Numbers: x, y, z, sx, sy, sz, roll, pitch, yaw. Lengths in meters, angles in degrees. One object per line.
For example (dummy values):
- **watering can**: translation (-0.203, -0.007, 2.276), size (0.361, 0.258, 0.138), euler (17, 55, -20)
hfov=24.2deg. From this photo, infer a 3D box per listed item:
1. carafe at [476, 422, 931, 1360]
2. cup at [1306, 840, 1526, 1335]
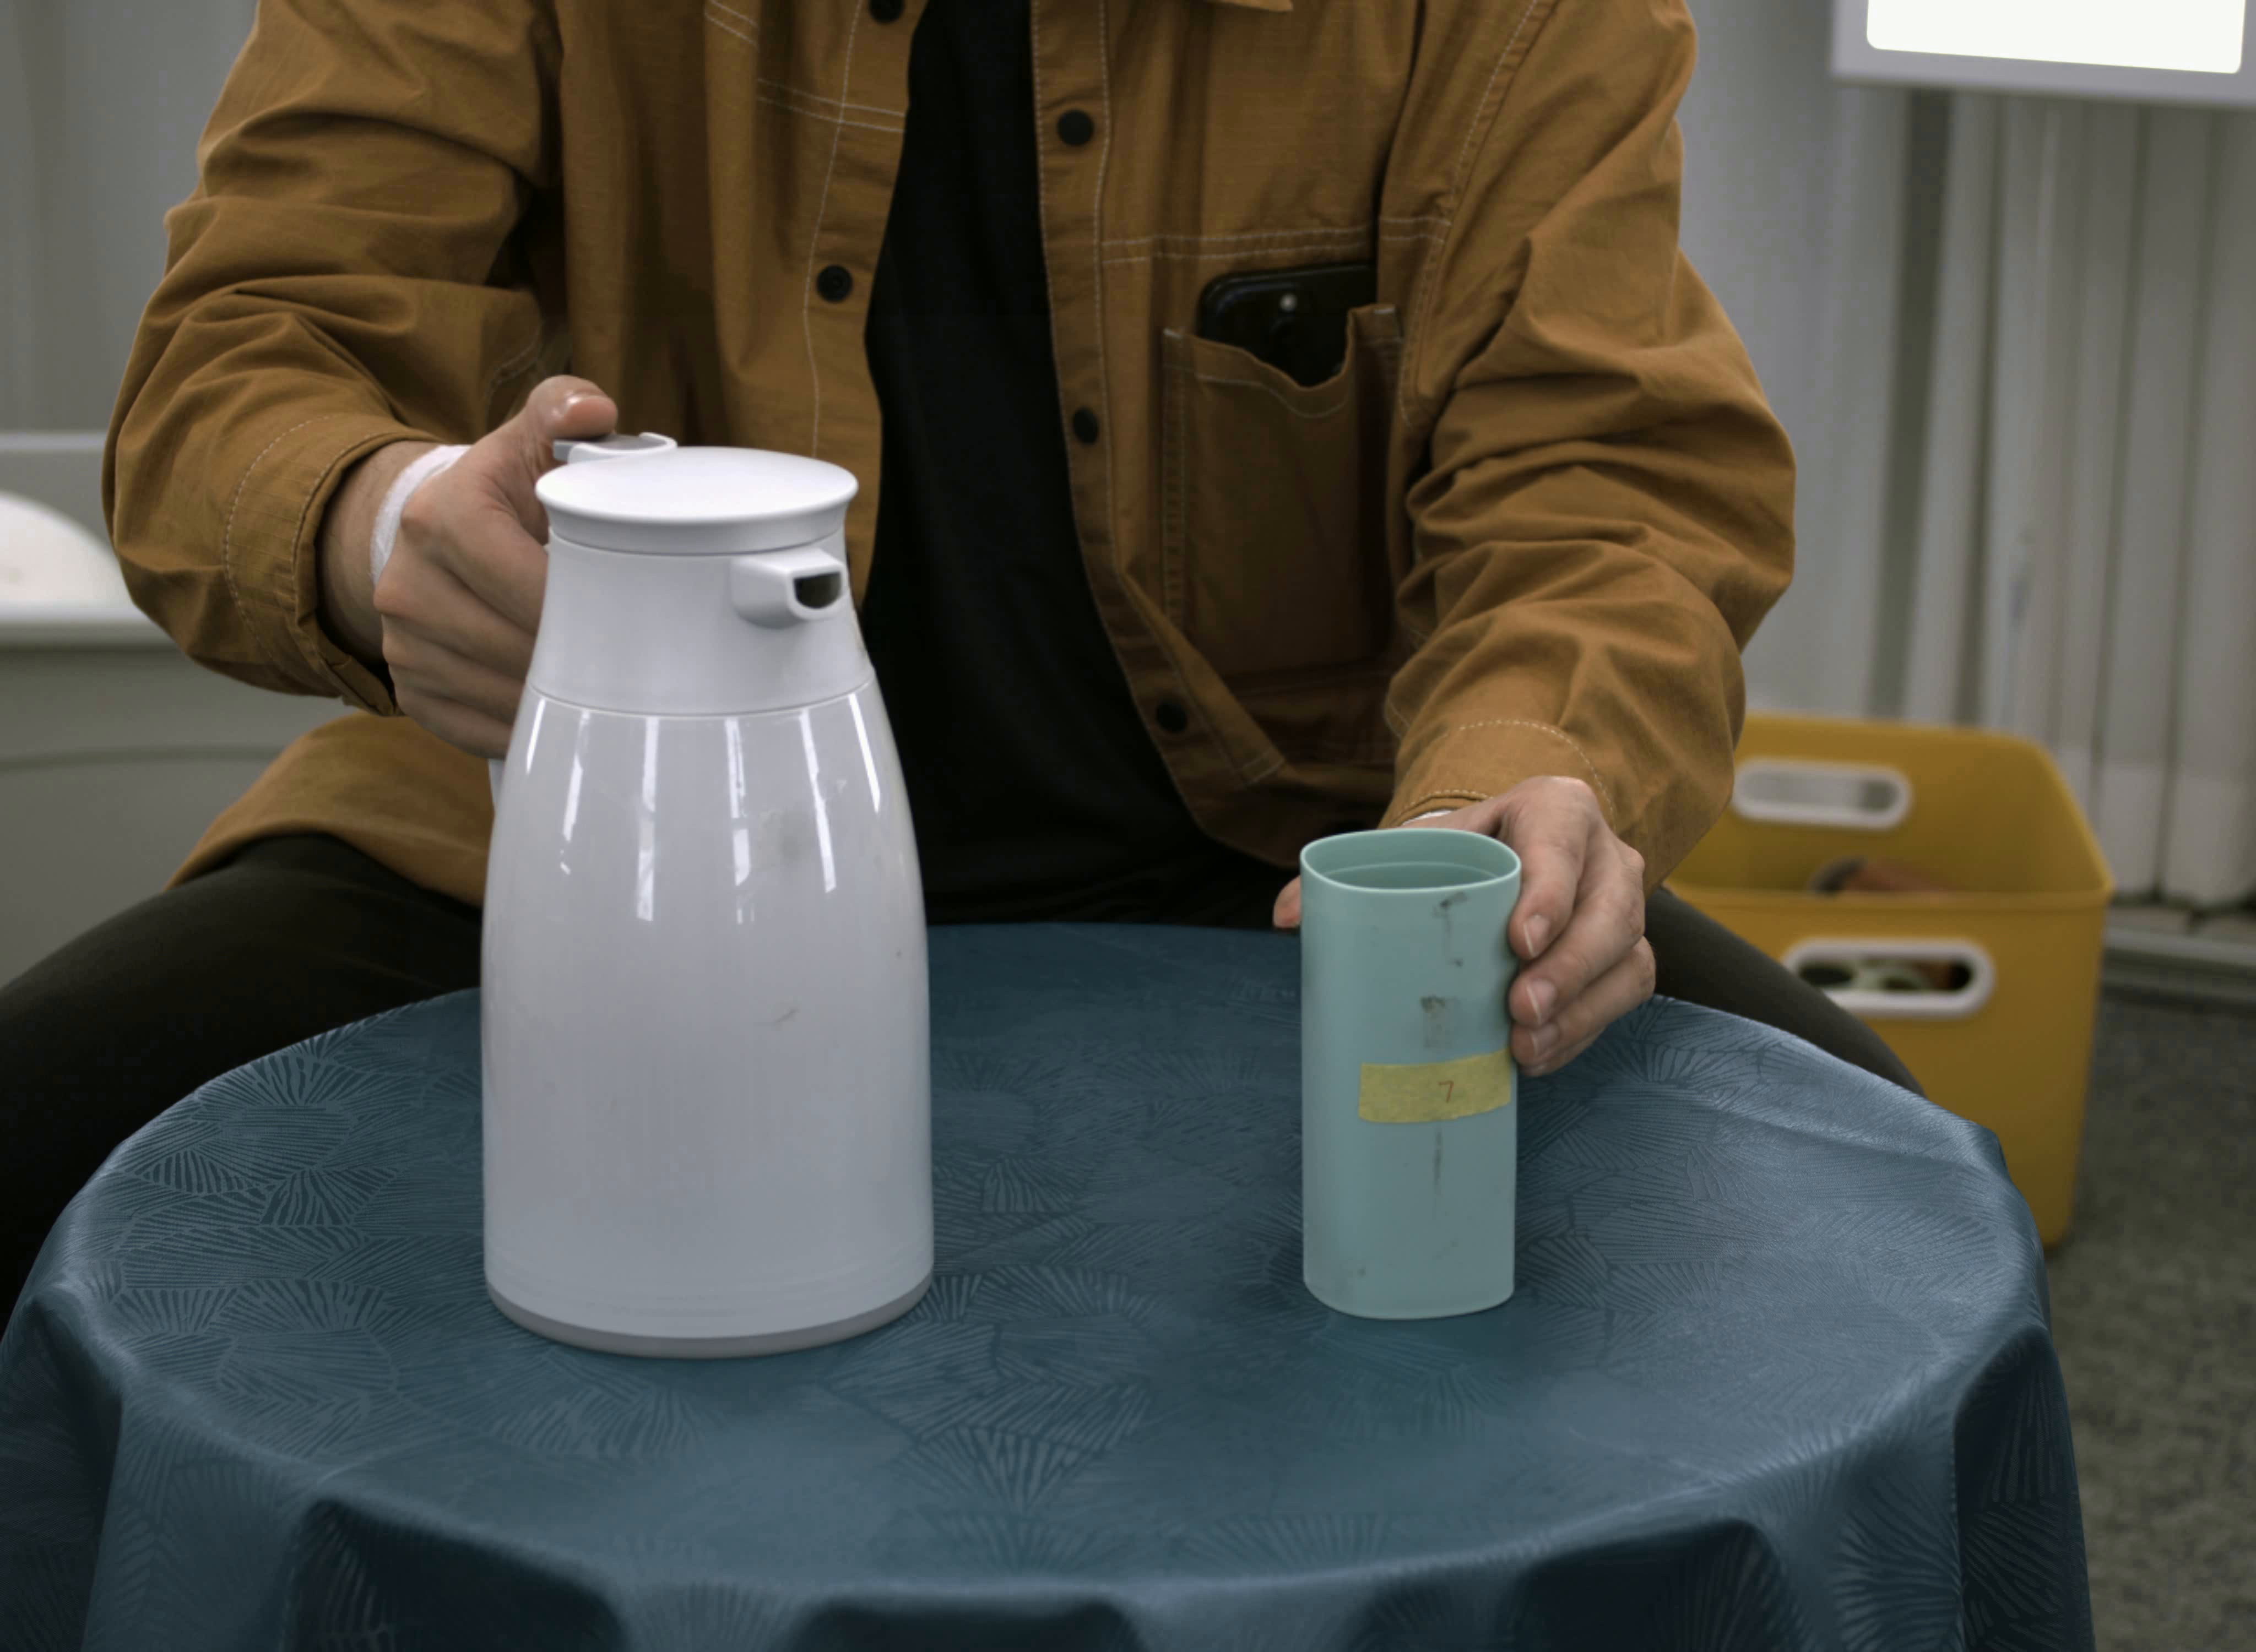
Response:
- **carafe**: translation (-0.135, 0.010, 1.521), size (0.133, 0.250, 0.165), euler (-13, 20, -37)
- **cup**: translation (0.082, 0.074, 1.527), size (0.066, 0.133, 0.066), euler (0, 16, 0)
